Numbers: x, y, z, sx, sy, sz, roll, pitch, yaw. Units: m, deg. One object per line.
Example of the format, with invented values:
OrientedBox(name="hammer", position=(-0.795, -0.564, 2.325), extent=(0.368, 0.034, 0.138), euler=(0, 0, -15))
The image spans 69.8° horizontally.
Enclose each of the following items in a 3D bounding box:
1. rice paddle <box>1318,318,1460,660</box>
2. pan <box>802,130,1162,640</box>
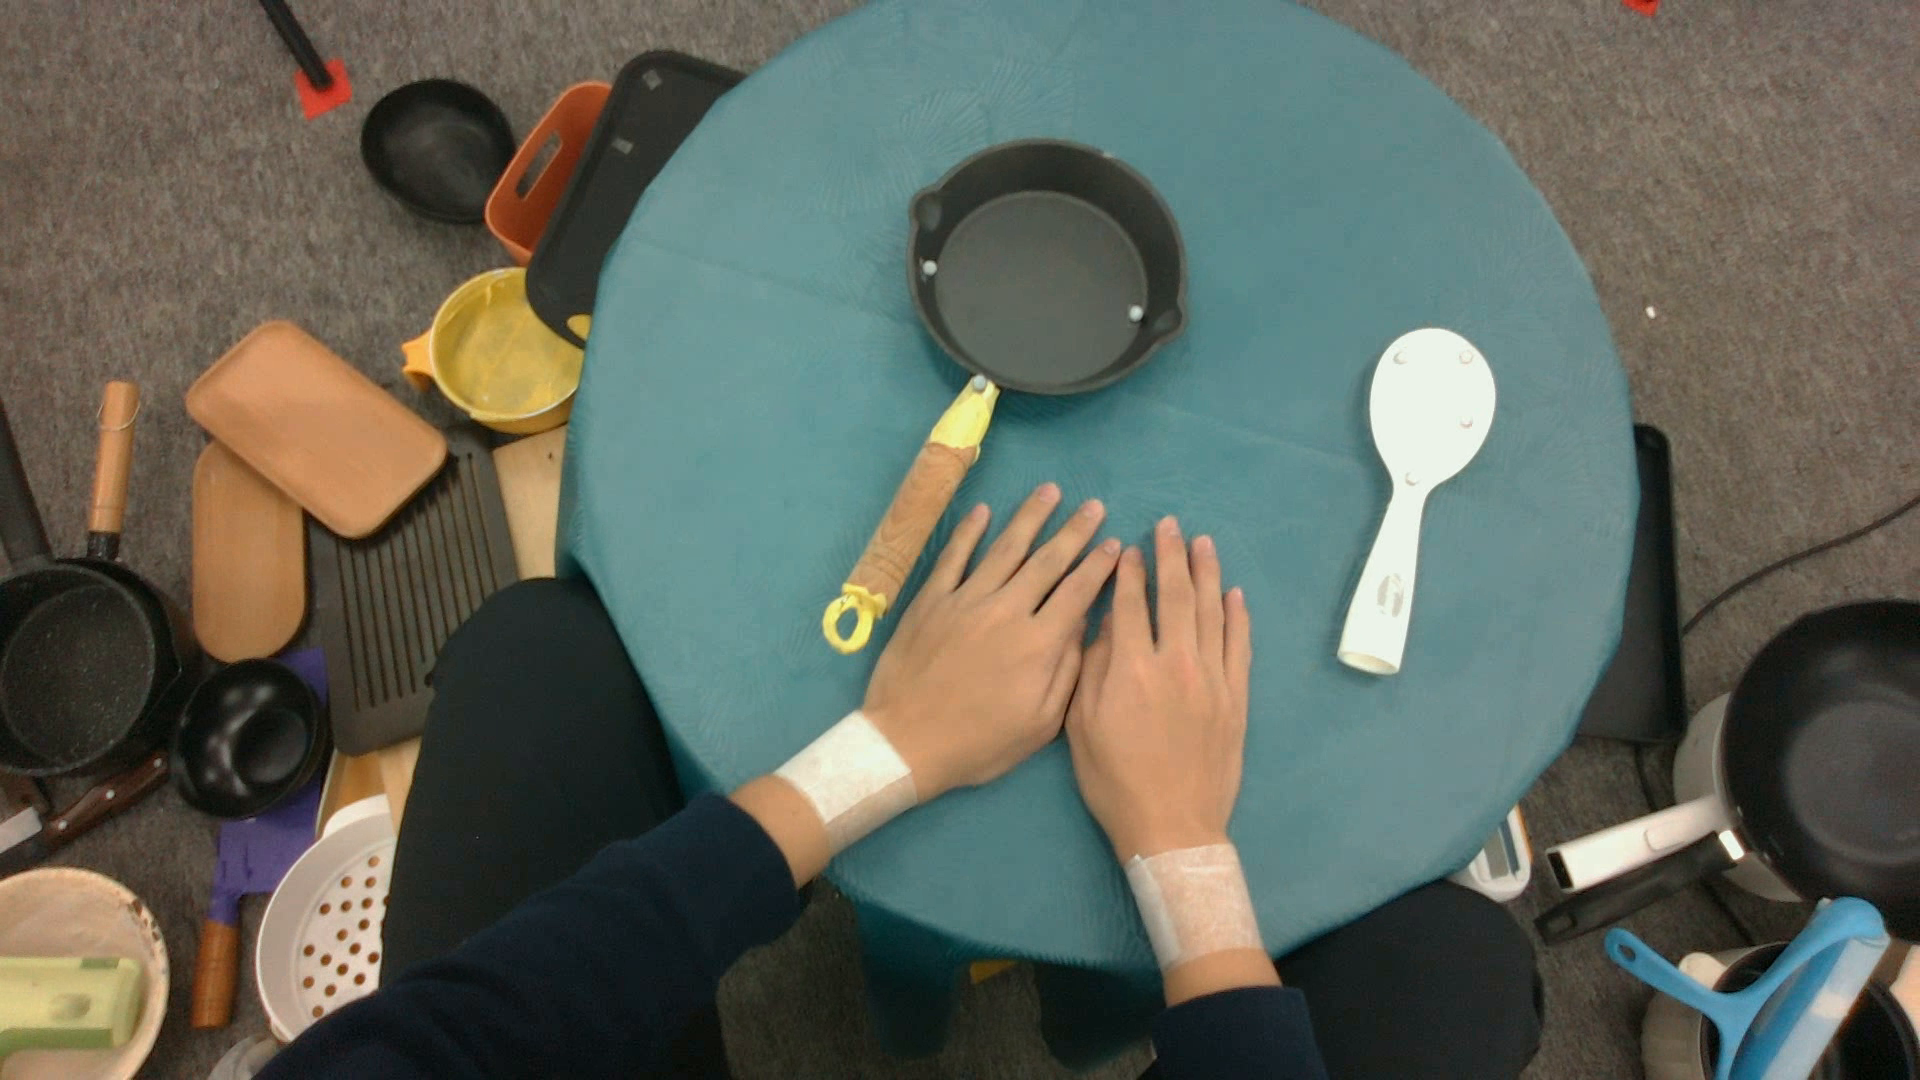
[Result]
OrientedBox(name="rice paddle", position=(0.233, -0.035, 0.760), extent=(0.069, 0.029, 0.206), euler=(17, 72, -1))
OrientedBox(name="pan", position=(-0.004, -0.086, 0.746), extent=(0.169, 0.049, 0.325), euler=(27, 71, 4))
